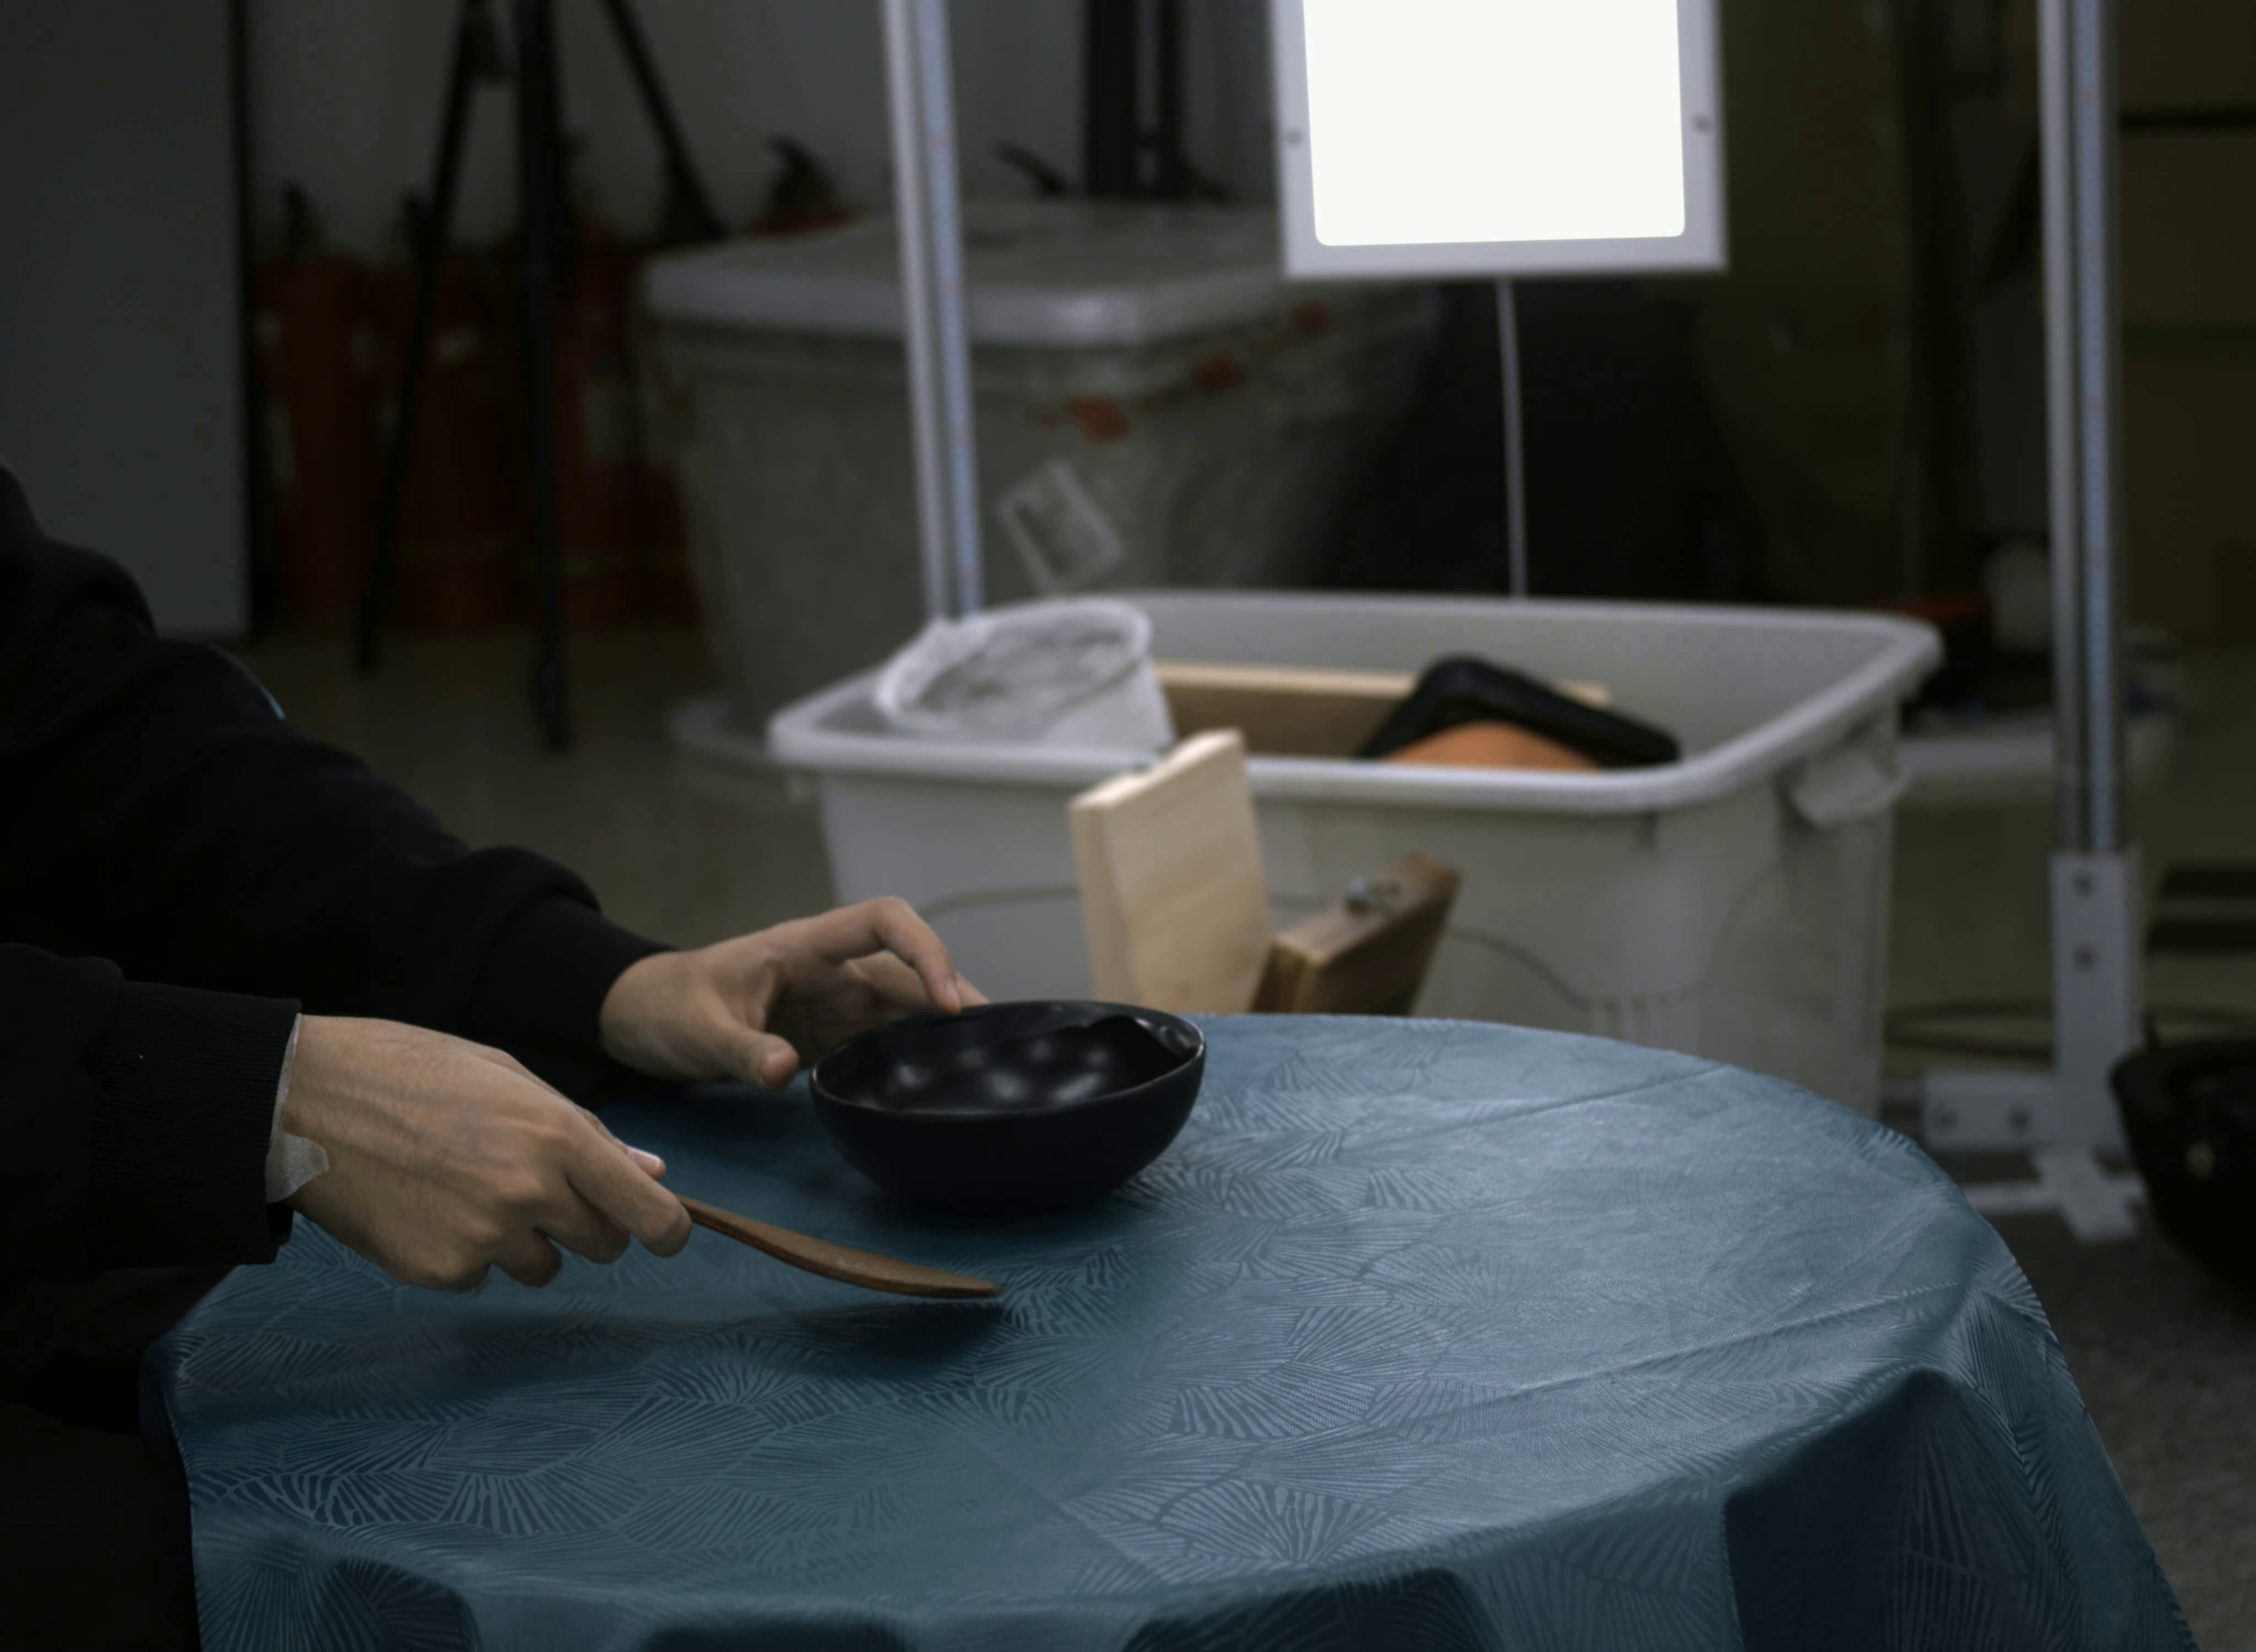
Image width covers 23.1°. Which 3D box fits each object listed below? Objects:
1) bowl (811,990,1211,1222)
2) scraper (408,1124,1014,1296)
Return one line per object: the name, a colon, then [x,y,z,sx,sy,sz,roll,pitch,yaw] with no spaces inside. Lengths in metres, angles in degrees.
bowl: [-0.039,0.102,1.908,0.139,0.050,0.140,-5,17,0]
scraper: [-0.140,0.126,1.796,0.214,0.011,0.074,15,0,21]
